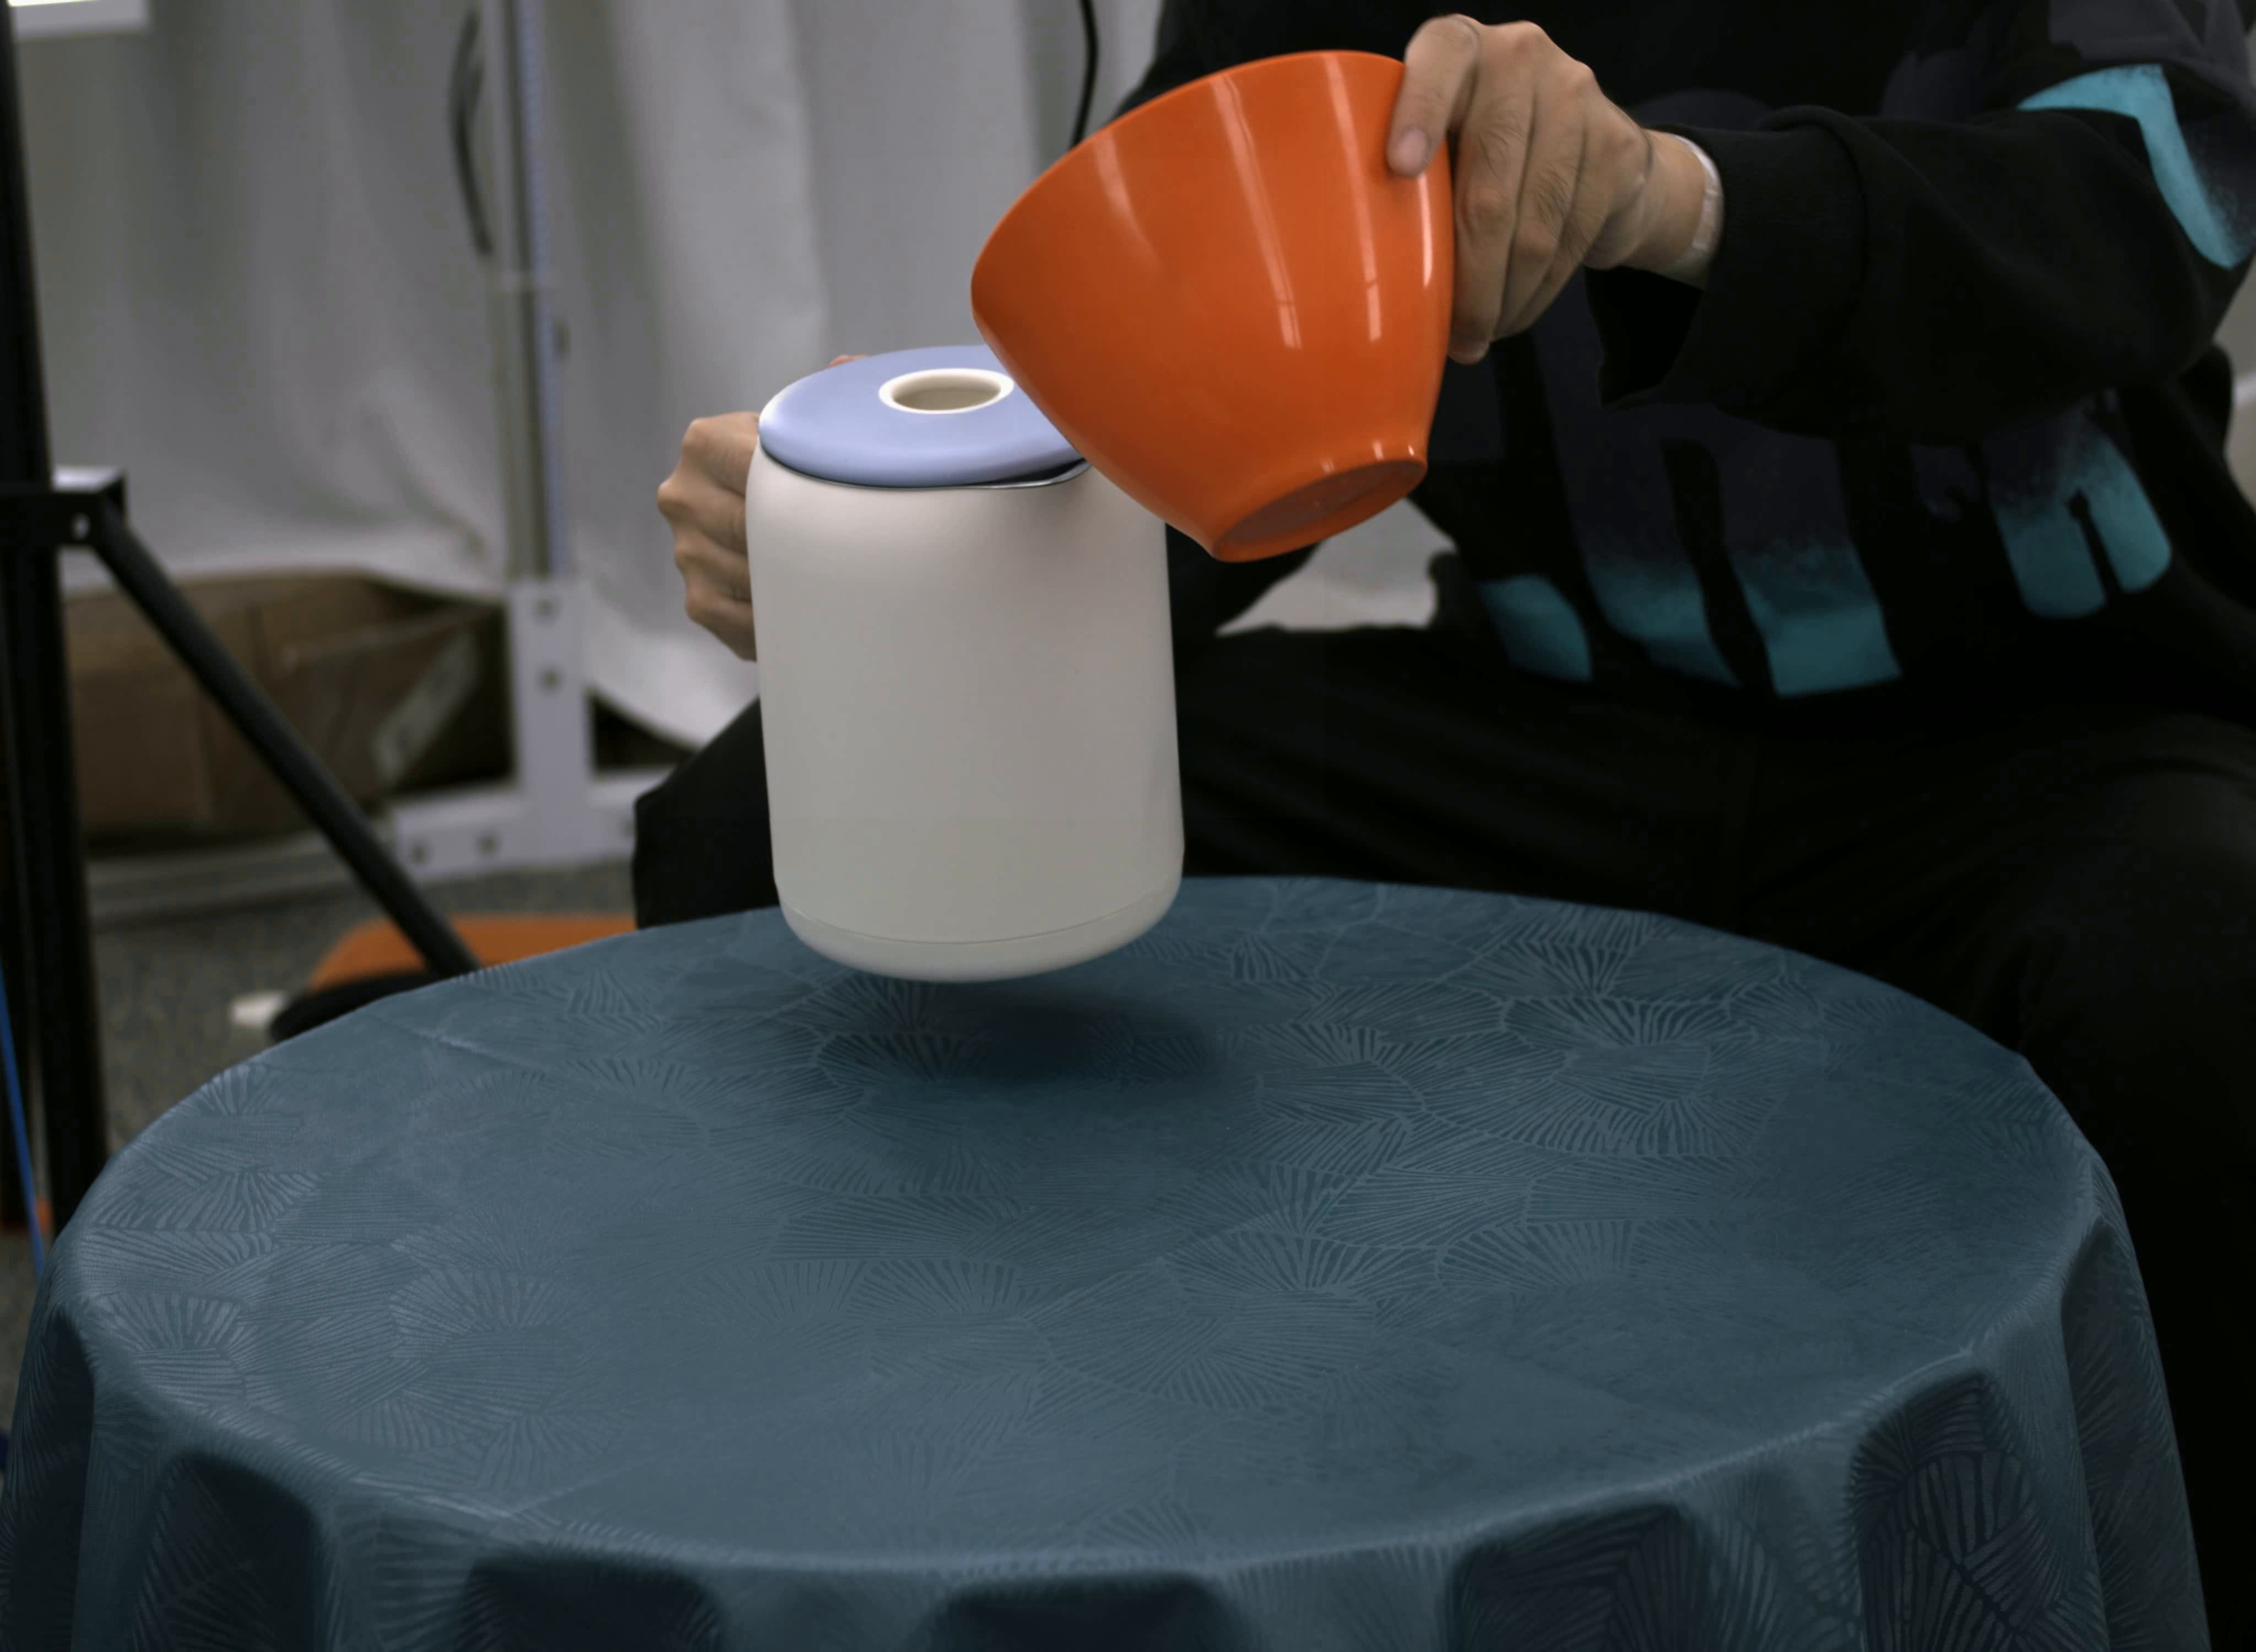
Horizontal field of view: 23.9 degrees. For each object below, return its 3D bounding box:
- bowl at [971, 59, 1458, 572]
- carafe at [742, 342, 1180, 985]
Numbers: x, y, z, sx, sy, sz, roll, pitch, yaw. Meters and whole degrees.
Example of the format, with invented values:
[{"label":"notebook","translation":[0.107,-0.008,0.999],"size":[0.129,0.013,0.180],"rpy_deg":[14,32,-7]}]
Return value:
[{"label":"bowl","translation":[0.038,-0.136,1.511],"size":[0.147,0.106,0.147],"rpy_deg":[-19,-12,-6]},{"label":"carafe","translation":[-0.065,-0.058,1.697],"size":[0.129,0.182,0.195],"rpy_deg":[-15,22,-28]}]
